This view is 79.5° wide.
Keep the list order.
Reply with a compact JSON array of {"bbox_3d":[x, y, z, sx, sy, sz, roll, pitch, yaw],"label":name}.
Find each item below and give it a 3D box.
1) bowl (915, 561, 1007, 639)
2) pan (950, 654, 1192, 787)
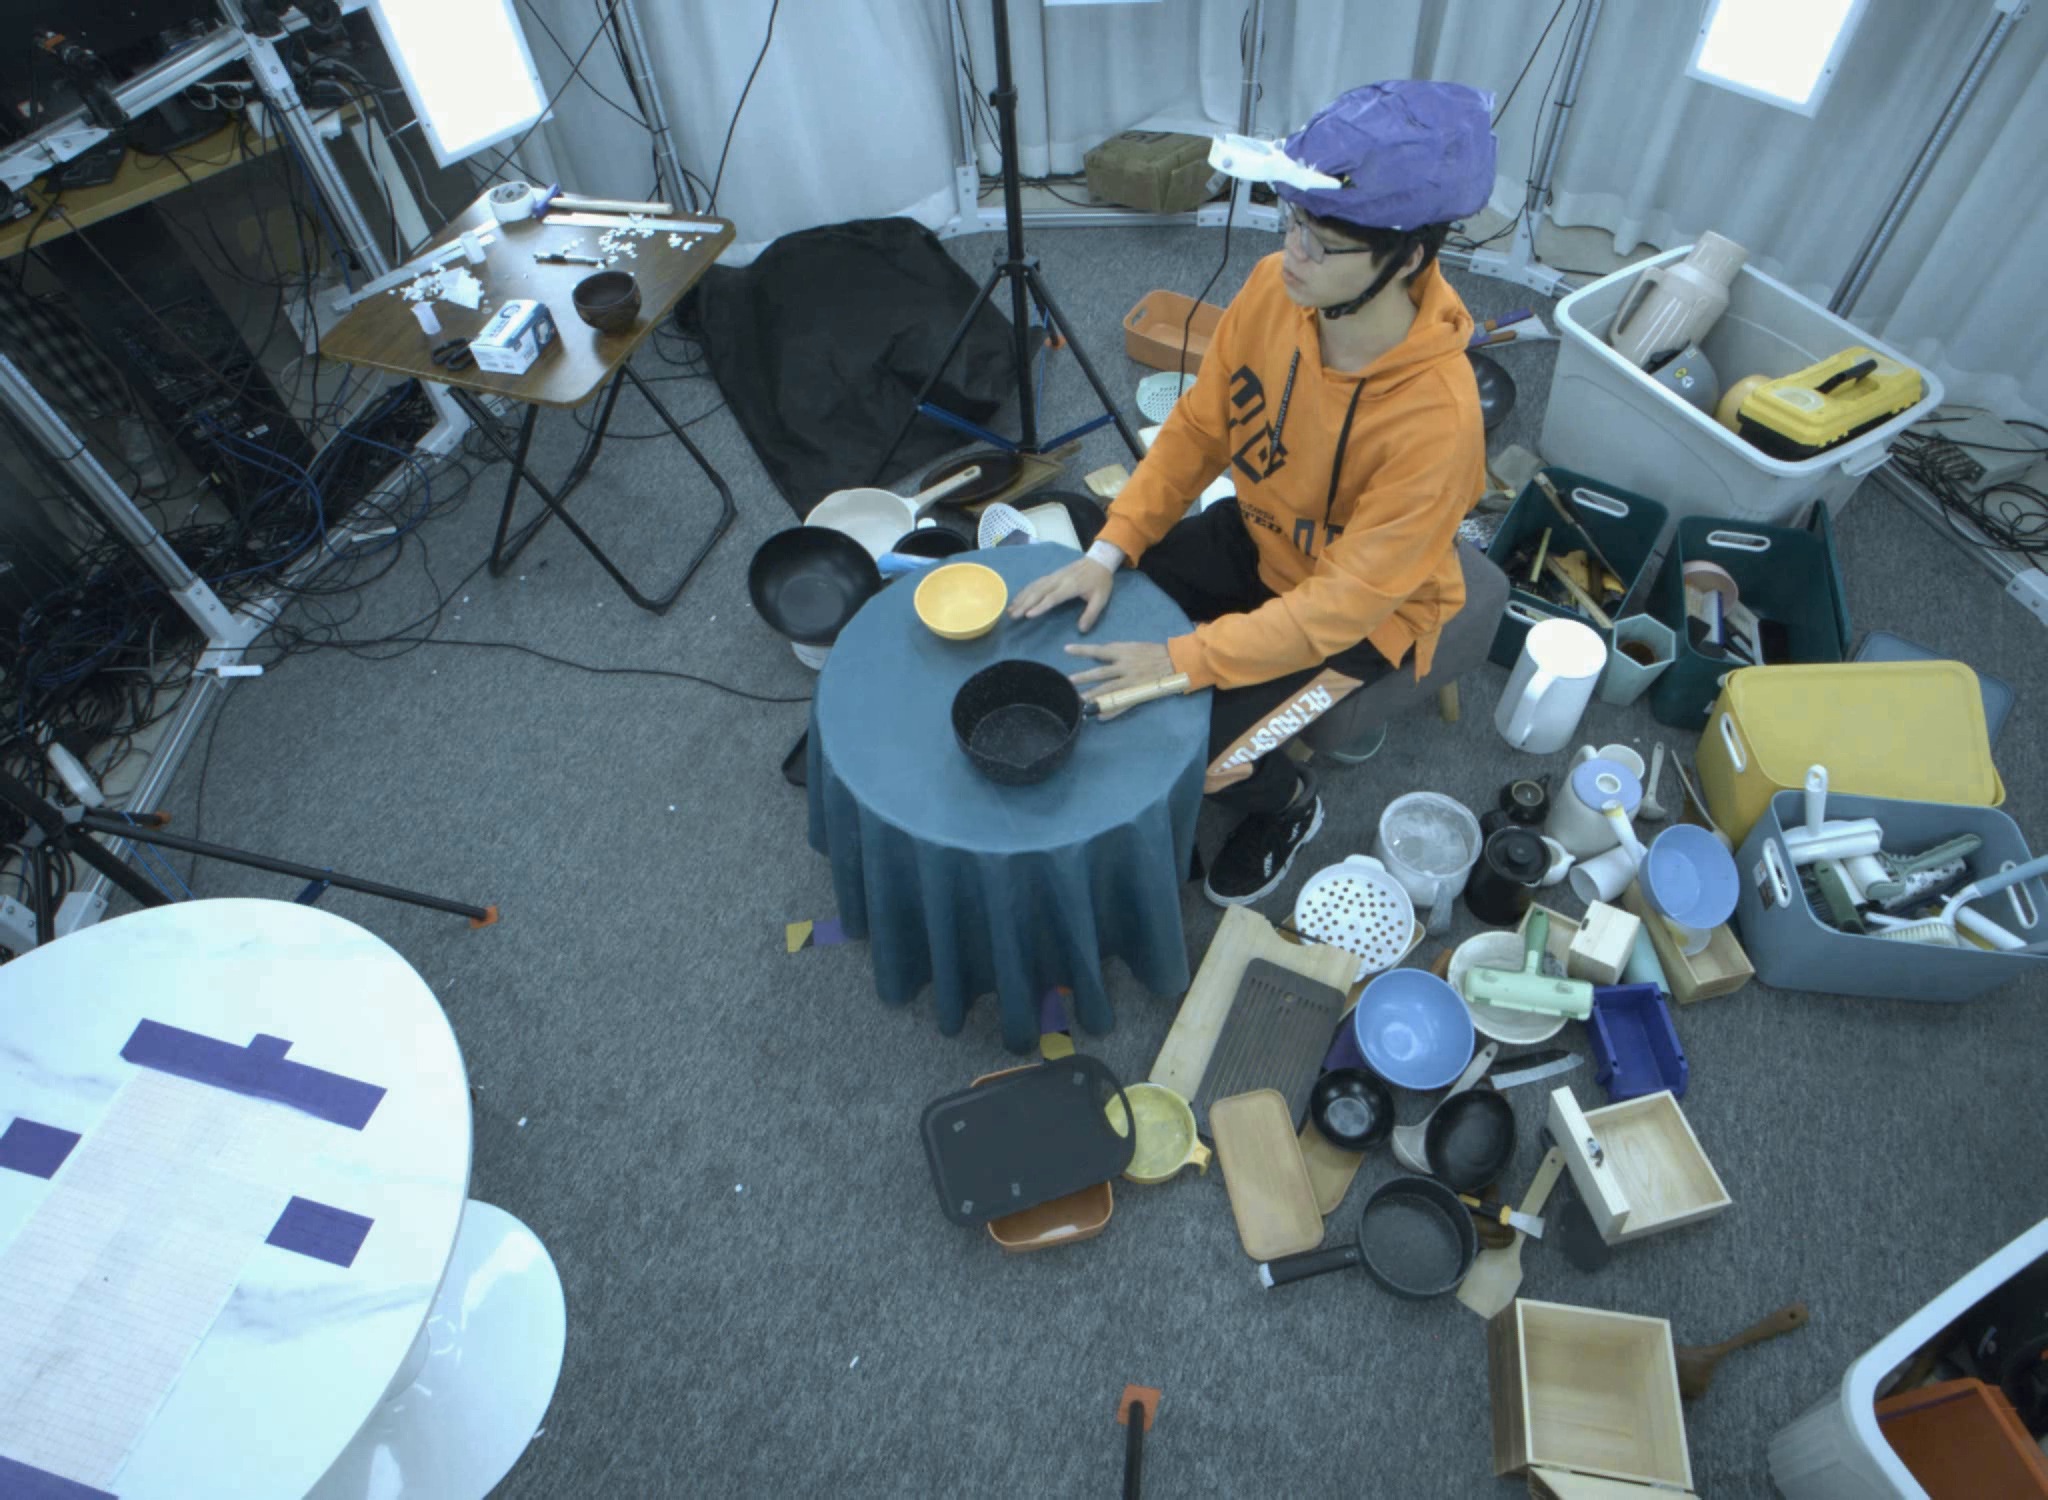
[{"bbox_3d":[-0.096,-0.222,1.912,0.145,0.061,0.144,0,56,1],"label":"bowl"},{"bbox_3d":[0.068,-0.051,1.754,0.343,0.109,0.204,-9,53,-2],"label":"pan"}]
